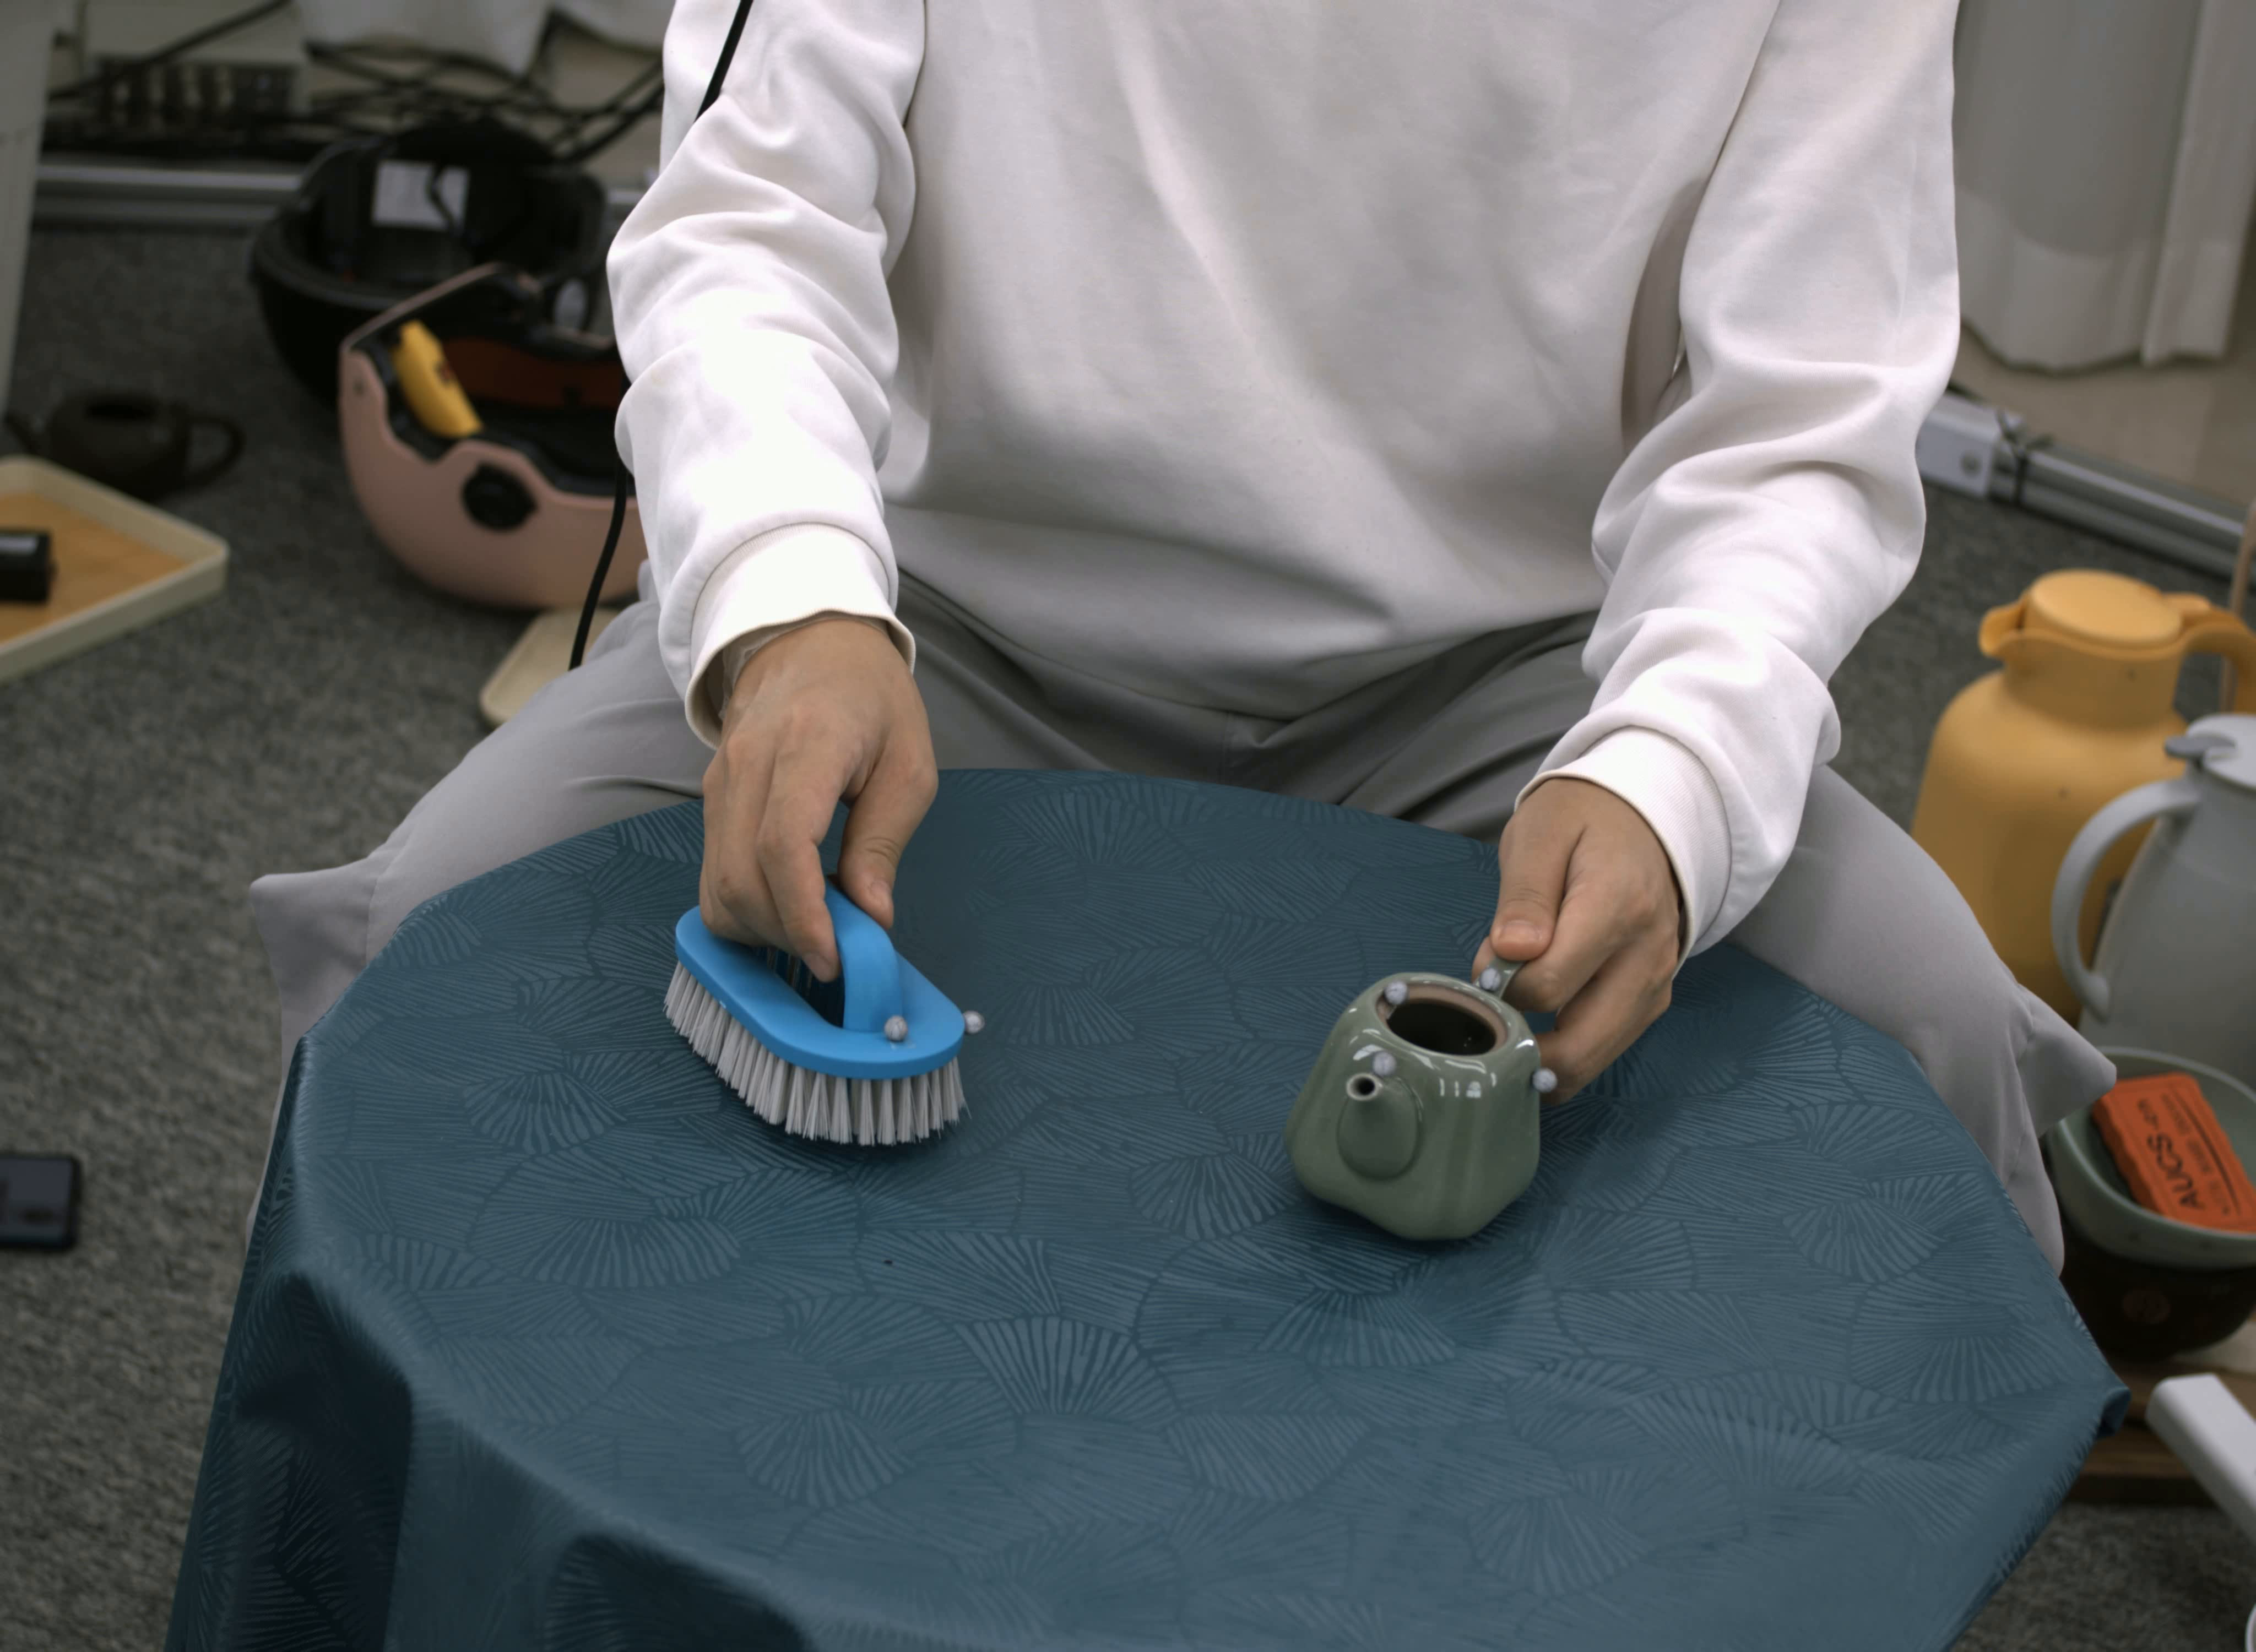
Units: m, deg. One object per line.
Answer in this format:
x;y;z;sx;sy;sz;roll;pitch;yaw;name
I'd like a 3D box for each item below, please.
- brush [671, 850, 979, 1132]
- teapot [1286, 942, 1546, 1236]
-0.107;0.049;1.843;0.084;0.063;0.143;-10;26;-25;brush
0.102;0.091;1.807;0.080;0.075;0.132;26;32;22;teapot
